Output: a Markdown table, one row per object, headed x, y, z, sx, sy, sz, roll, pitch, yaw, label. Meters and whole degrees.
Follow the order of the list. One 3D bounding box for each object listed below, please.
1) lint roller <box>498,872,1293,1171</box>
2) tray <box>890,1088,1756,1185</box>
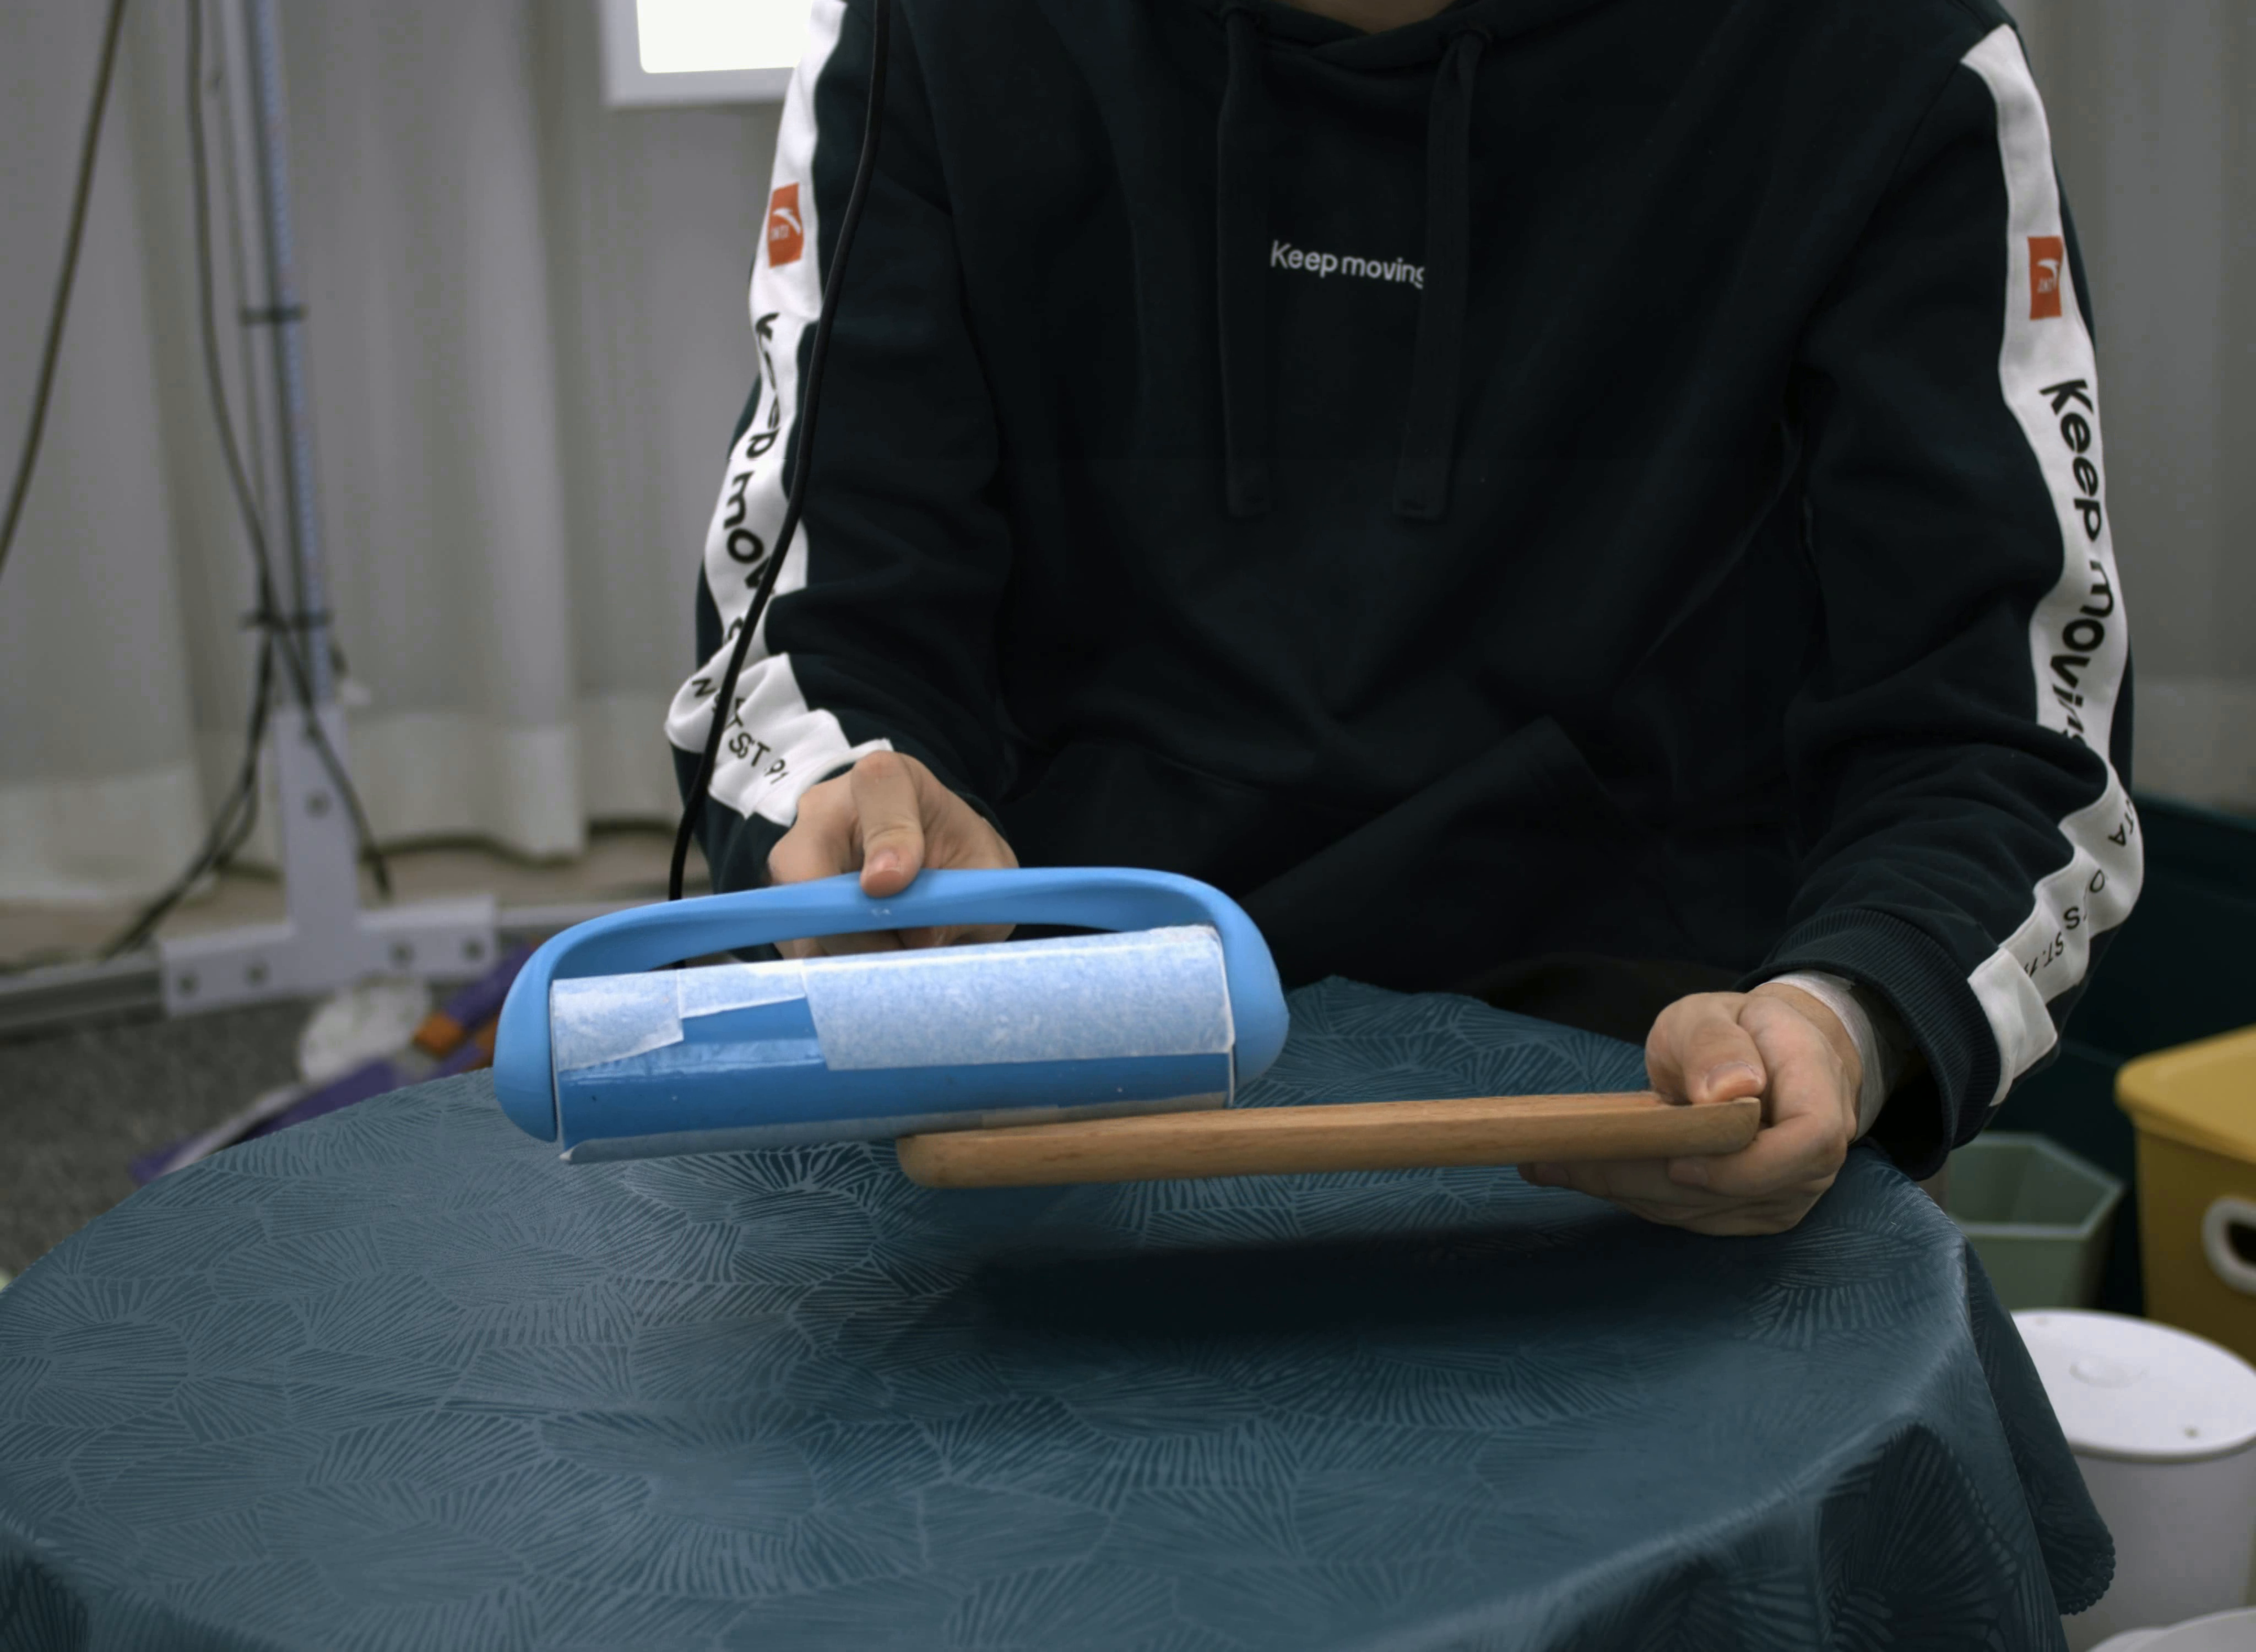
| x | y | z | sx | sy | sz | roll | pitch | yaw | label |
| --- | --- | --- | --- | --- | --- | --- | --- | --- | --- |
| -0.074 | 0.046 | 1.625 | 0.228 | 0.067 | 0.182 | -7 | 16 | -5 | lint roller |
| 0.055 | 0.091 | 1.606 | 0.250 | 0.023 | 0.130 | -3 | -3 | -1 | tray |
